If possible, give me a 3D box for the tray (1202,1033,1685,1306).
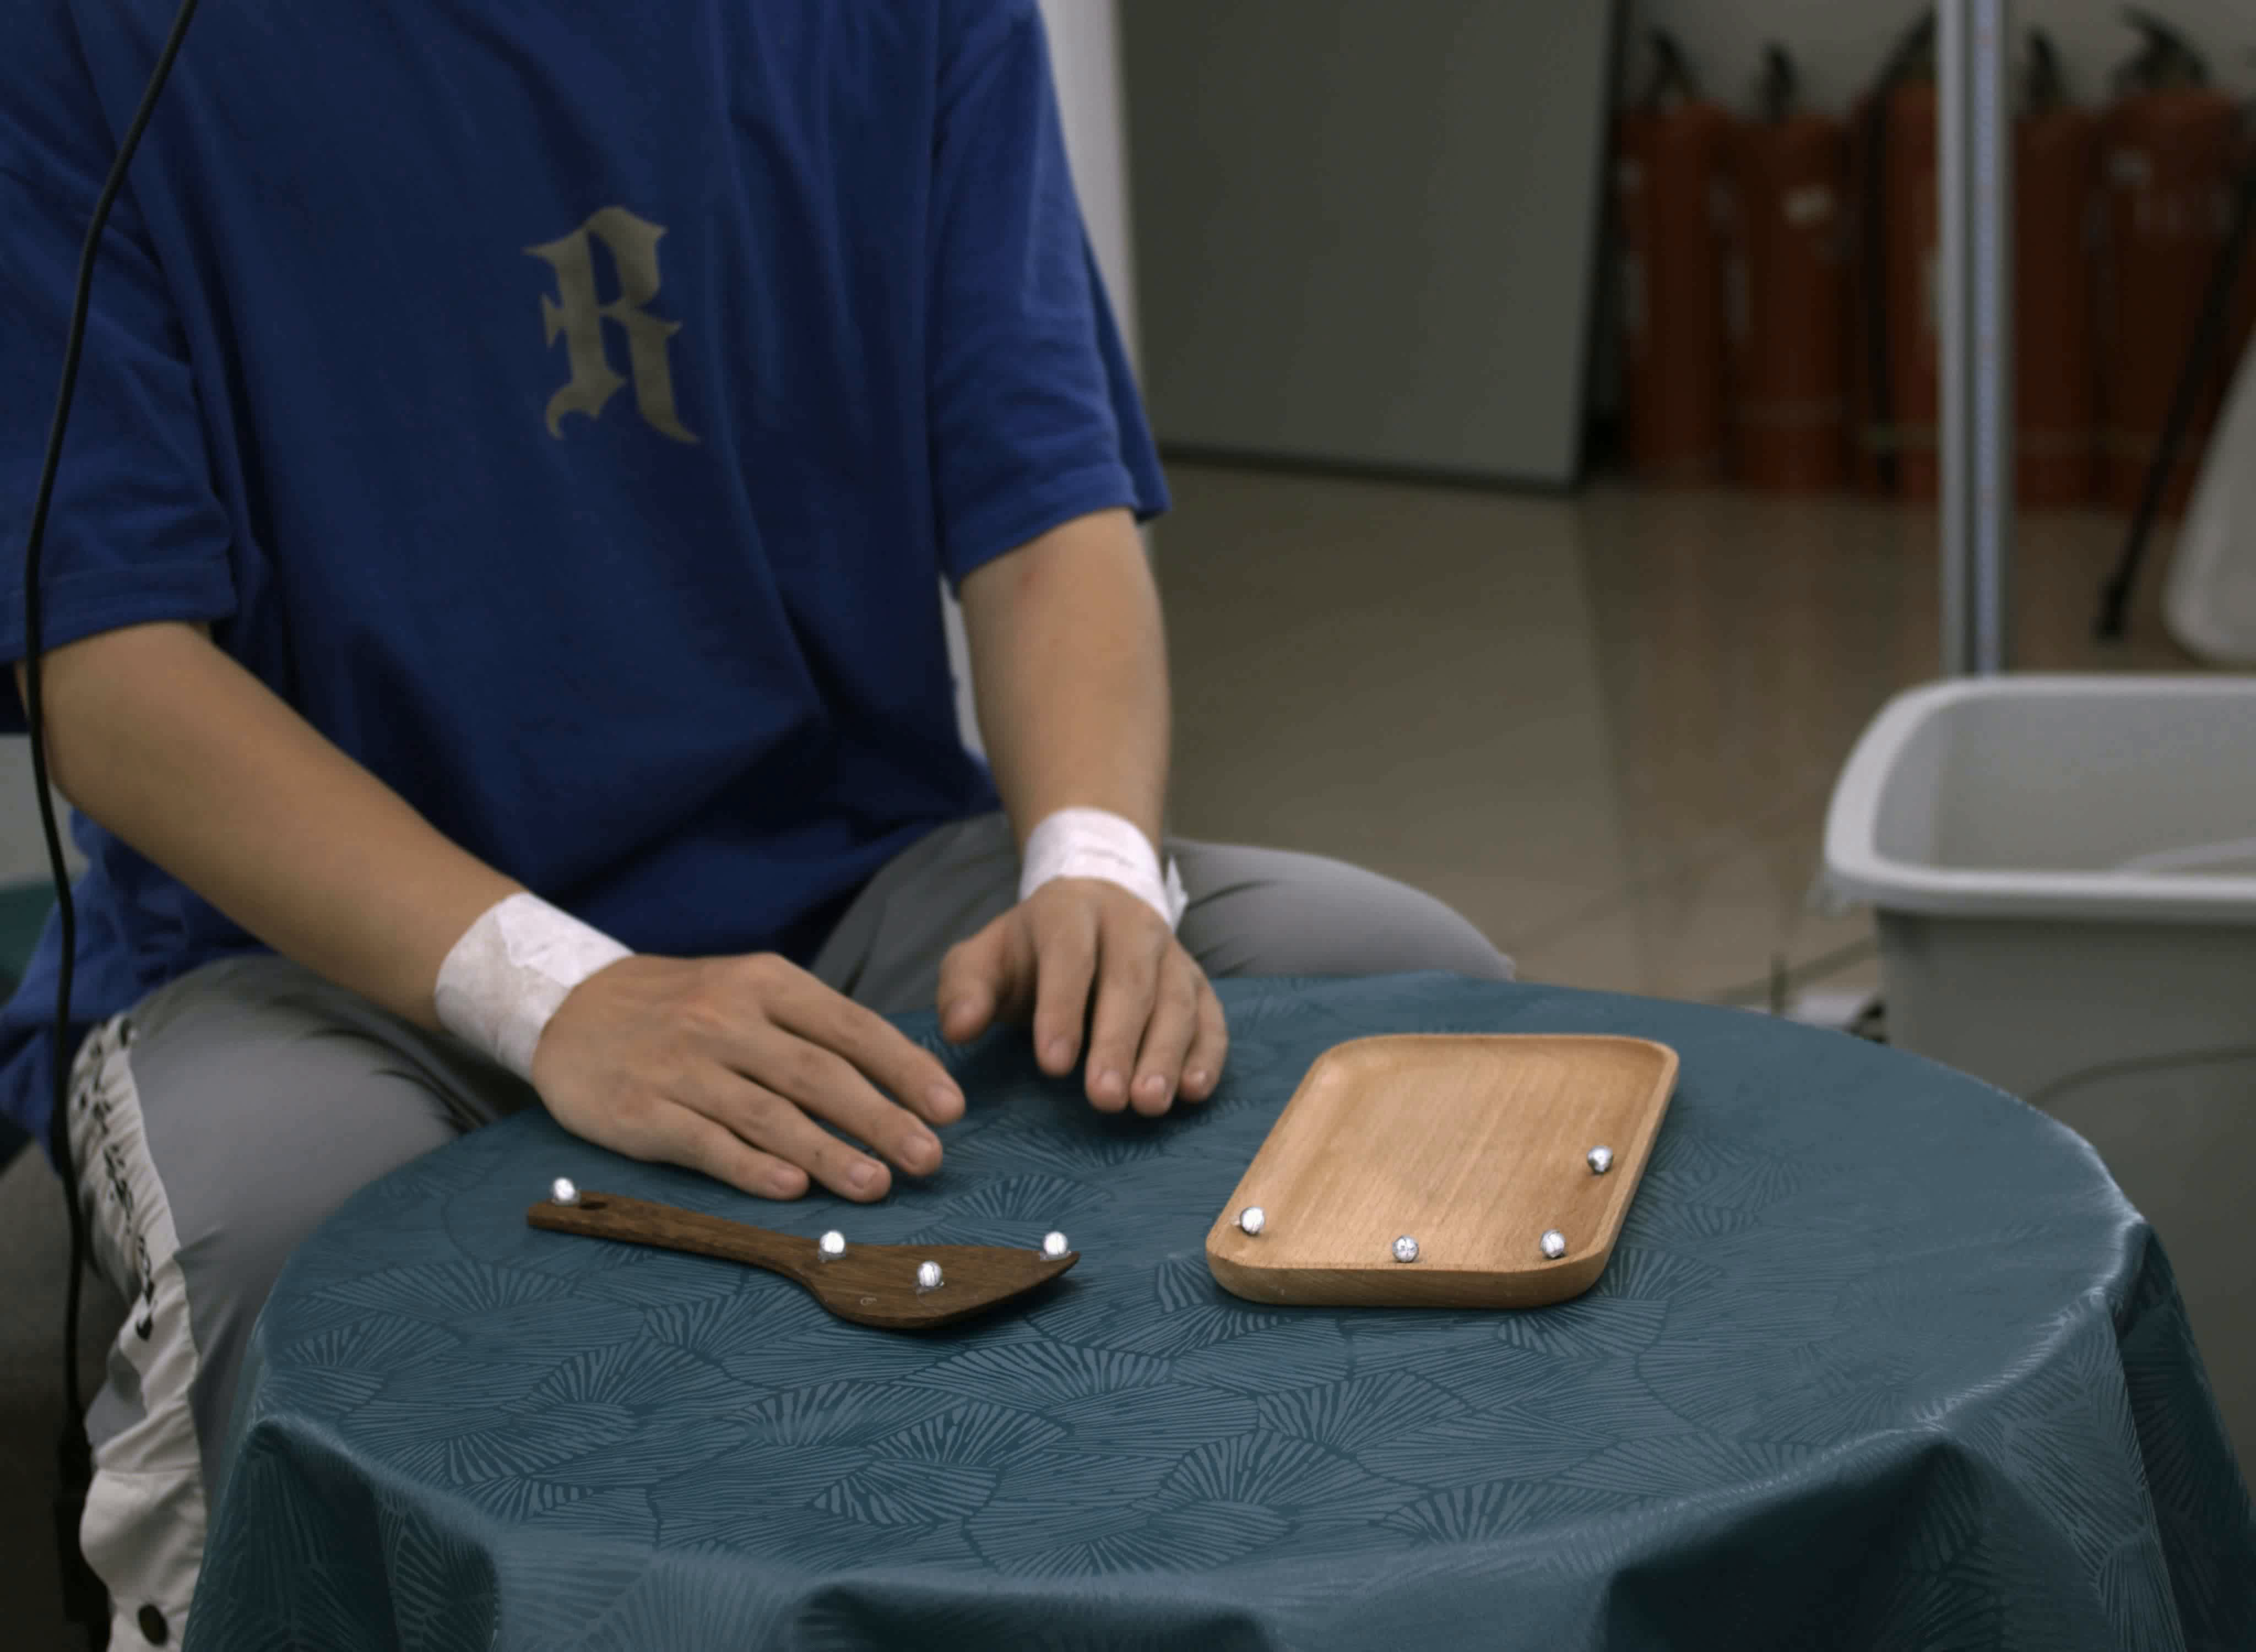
[{"bbox_3d":[0.106,0.109,1.752,0.130,0.023,0.249,2,14,14],"label":"tray"}]

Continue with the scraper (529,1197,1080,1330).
[{"bbox_3d":[-0.111,0.137,1.723,0.213,0.011,0.074,7,16,40],"label":"scraper"}]
